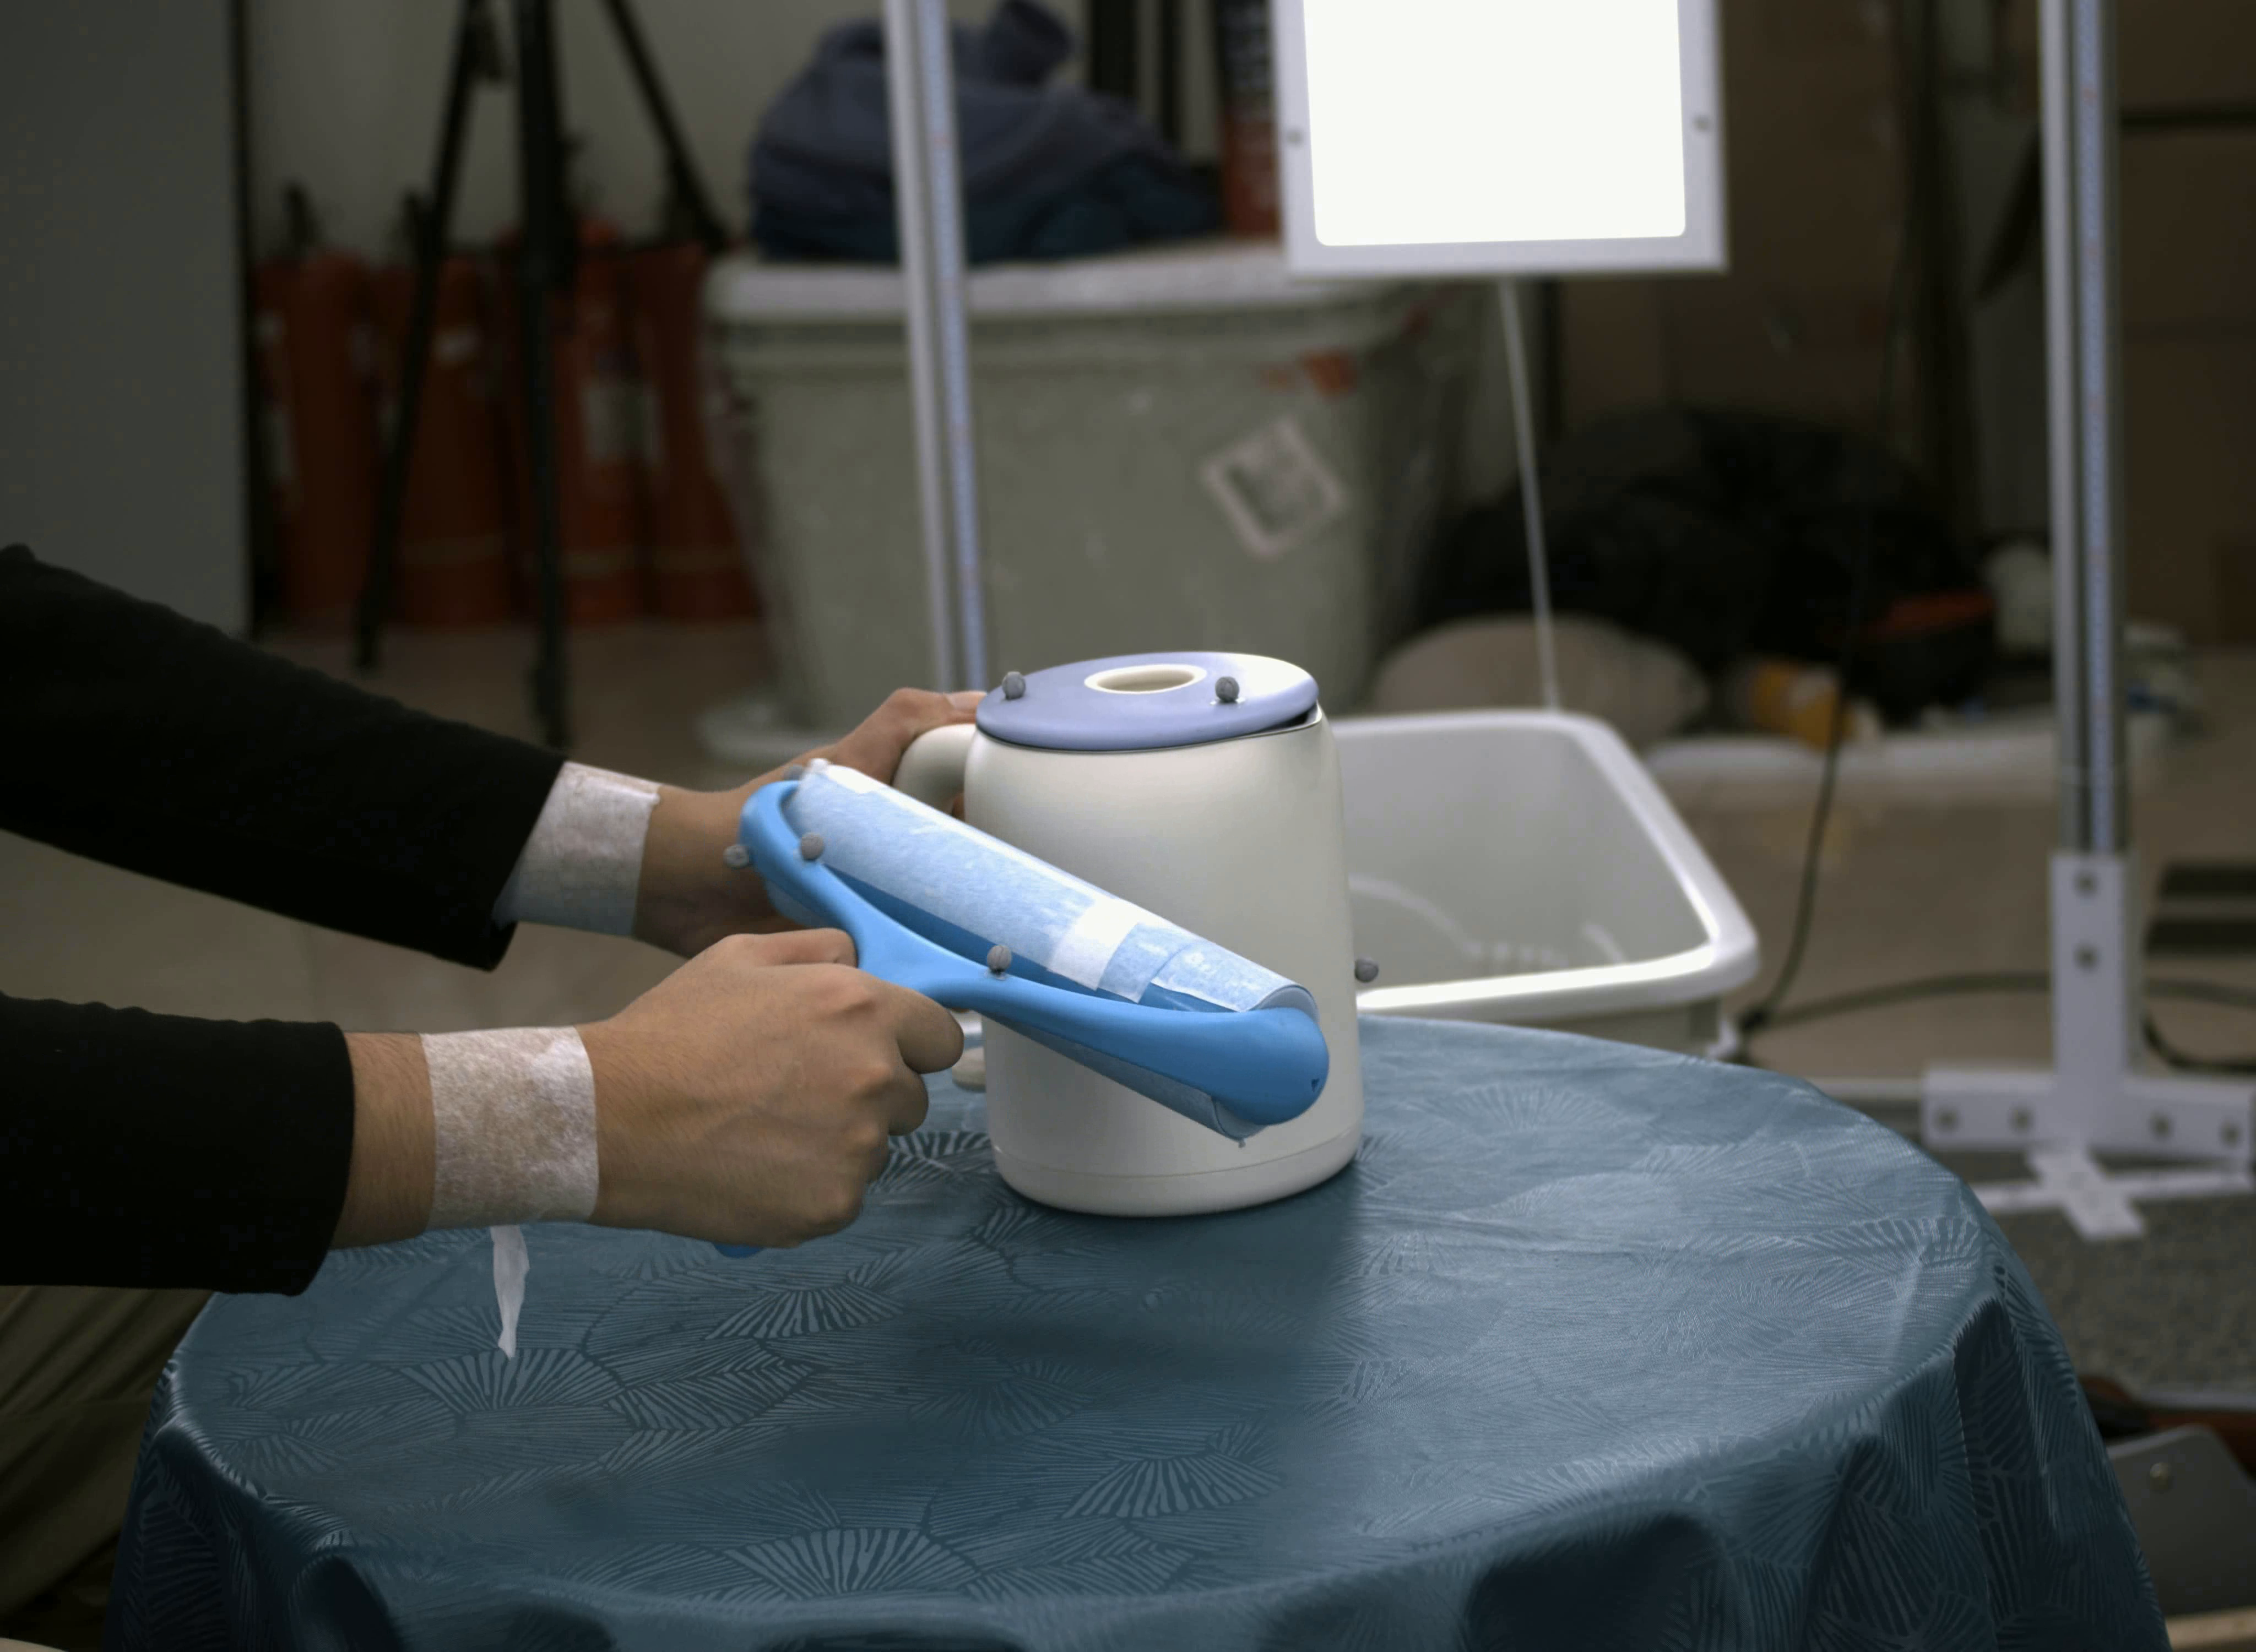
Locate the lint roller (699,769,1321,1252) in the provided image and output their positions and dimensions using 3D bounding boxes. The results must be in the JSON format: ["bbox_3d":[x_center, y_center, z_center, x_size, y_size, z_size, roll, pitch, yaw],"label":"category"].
[{"bbox_3d":[-0.069,0.066,1.740,0.232,0.068,0.176,25,42,29],"label":"lint roller"}]

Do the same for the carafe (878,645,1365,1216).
[{"bbox_3d":[-0.008,0.034,1.916,0.195,0.183,0.129,3,15,35],"label":"carafe"}]
